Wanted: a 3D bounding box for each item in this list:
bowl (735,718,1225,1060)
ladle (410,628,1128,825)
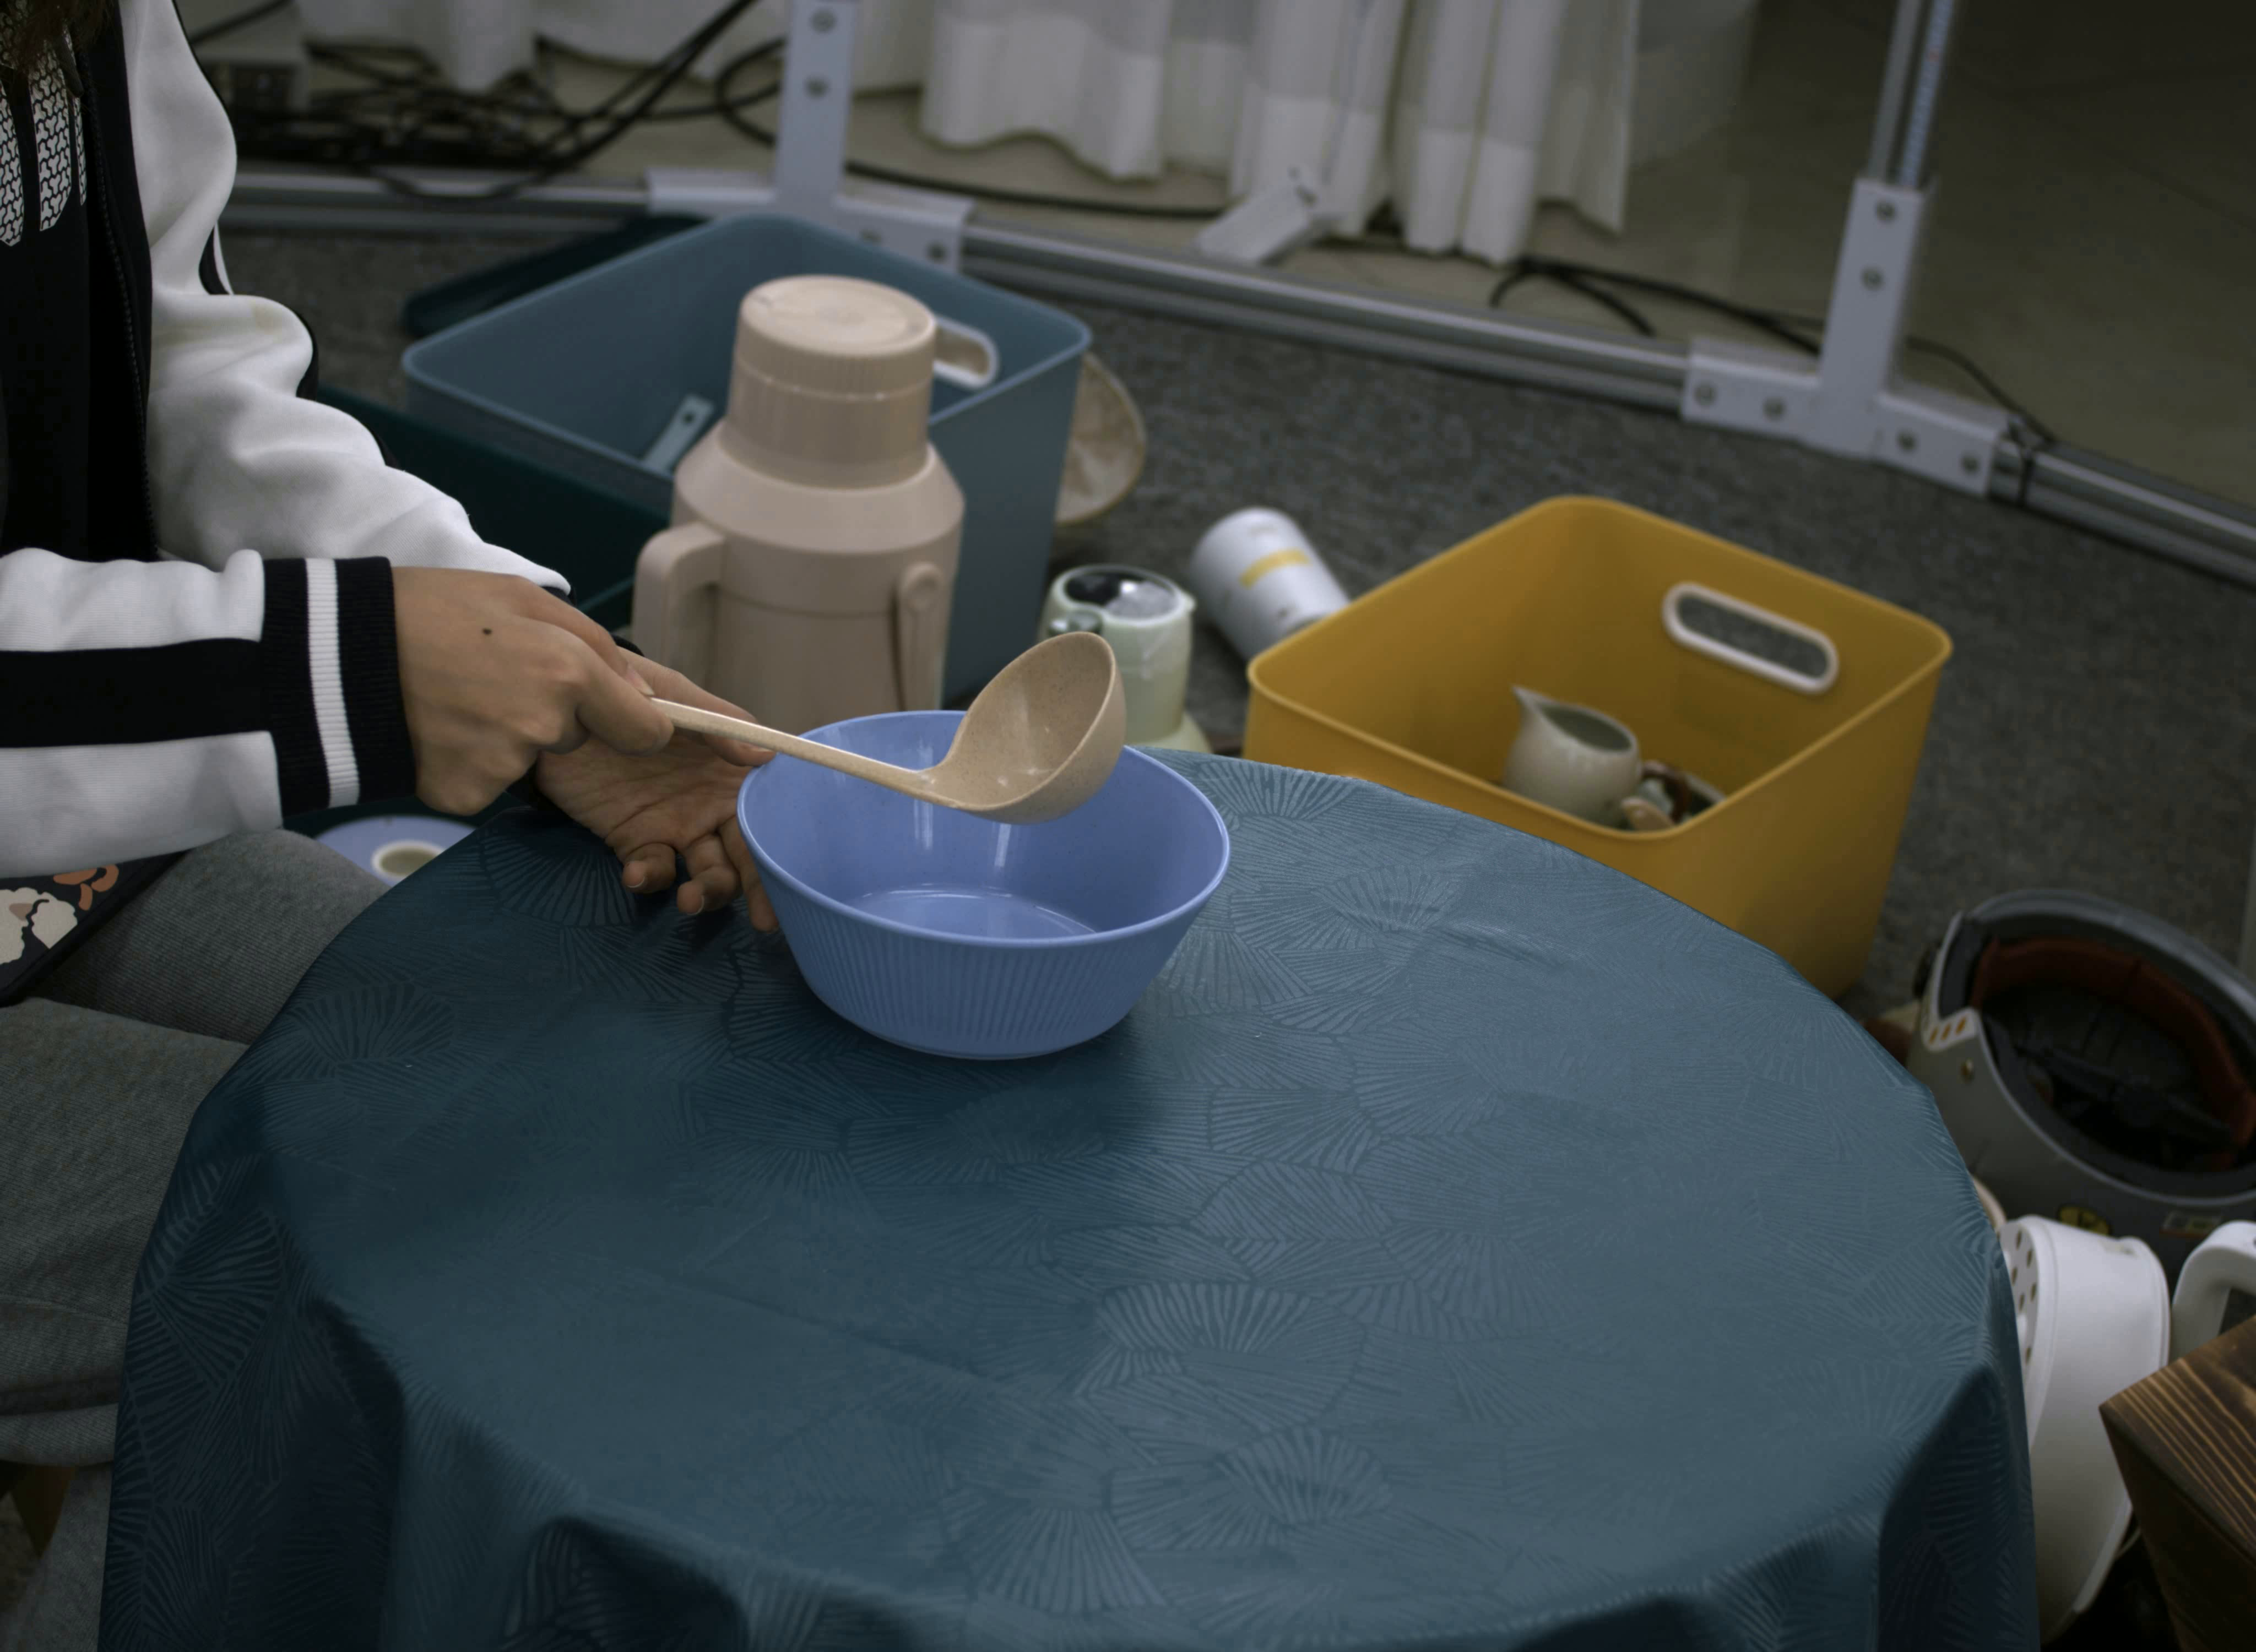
[{"bbox_3d":[-0.056,0.028,1.901,0.175,0.070,0.177,6,26,-3],"label":"bowl"},{"bbox_3d":[-0.117,-0.053,1.813,0.252,0.073,0.073,11,21,-29],"label":"ladle"}]
